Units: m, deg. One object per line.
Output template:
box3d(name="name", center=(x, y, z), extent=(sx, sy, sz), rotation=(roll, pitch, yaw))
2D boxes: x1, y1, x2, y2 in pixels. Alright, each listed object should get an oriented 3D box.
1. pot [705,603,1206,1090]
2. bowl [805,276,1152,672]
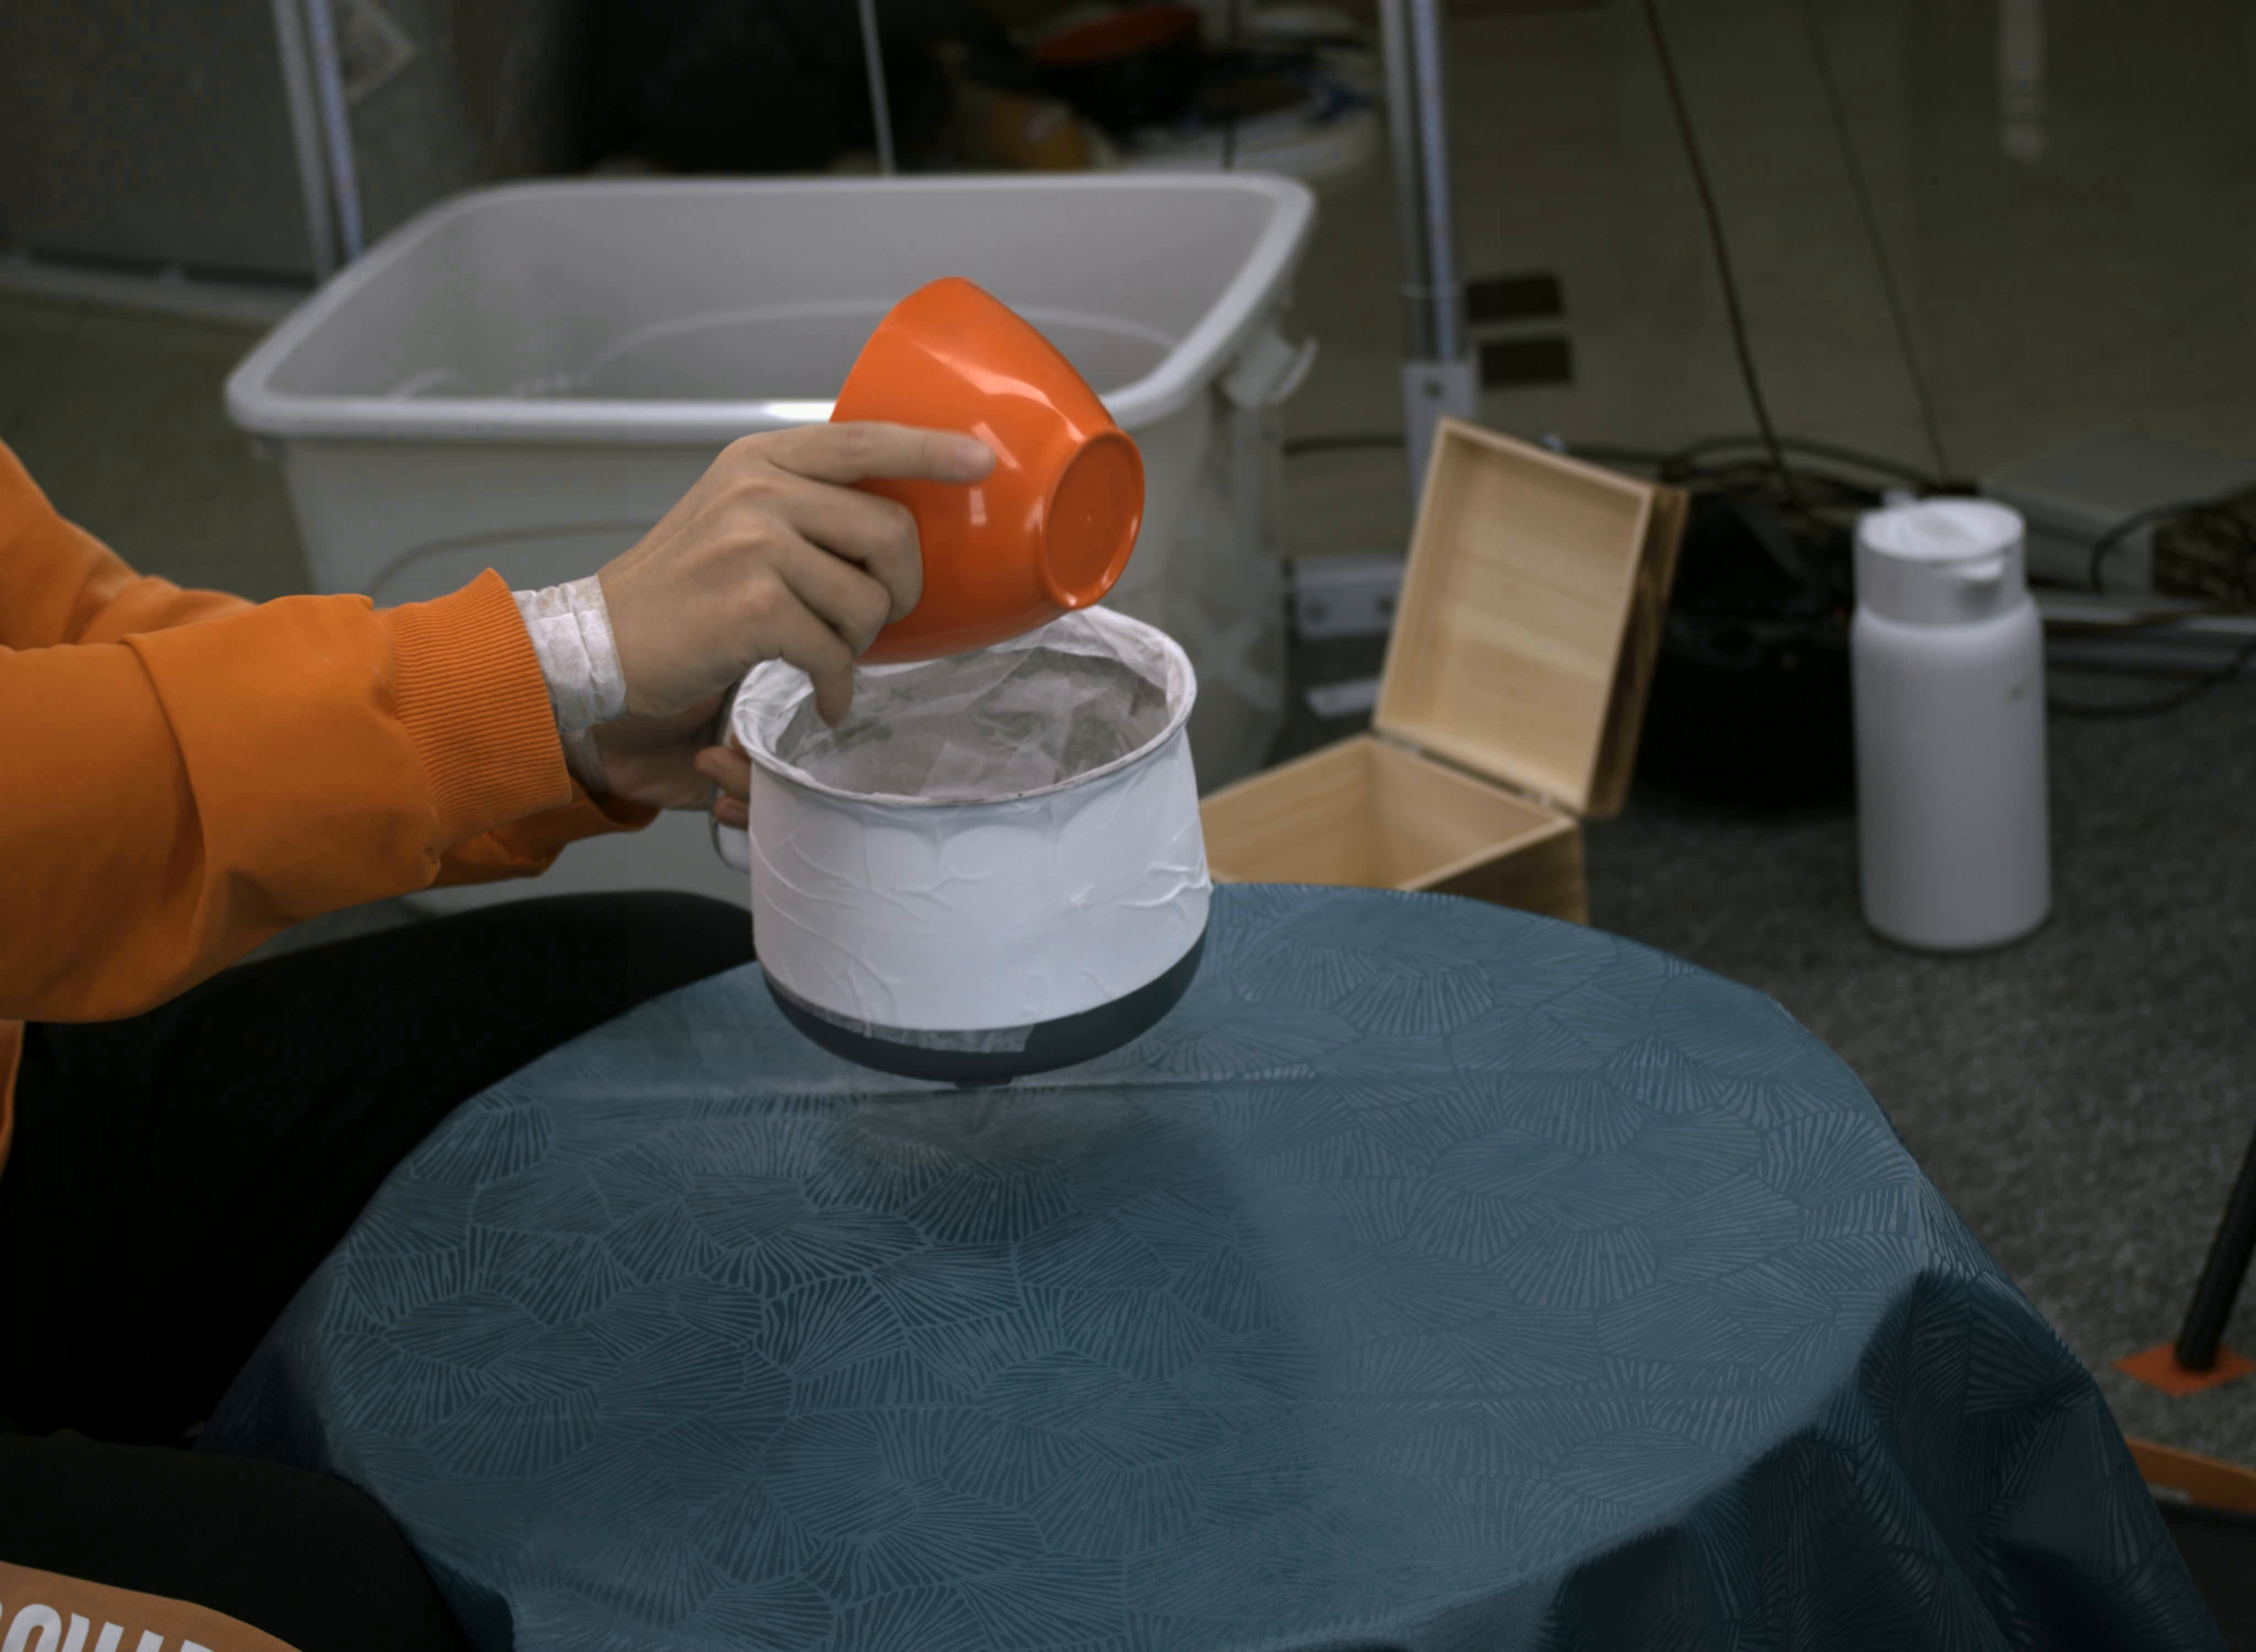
box3d(name="pot", center=(-0.080, -0.001, 2.186), extent=(0.232, 0.139, 0.177), rotation=(22, 37, 38))
box3d(name="bowl", center=(-0.047, -0.119, 2.033), extent=(0.104, 0.150, 0.146), rotation=(15, 32, 28))
